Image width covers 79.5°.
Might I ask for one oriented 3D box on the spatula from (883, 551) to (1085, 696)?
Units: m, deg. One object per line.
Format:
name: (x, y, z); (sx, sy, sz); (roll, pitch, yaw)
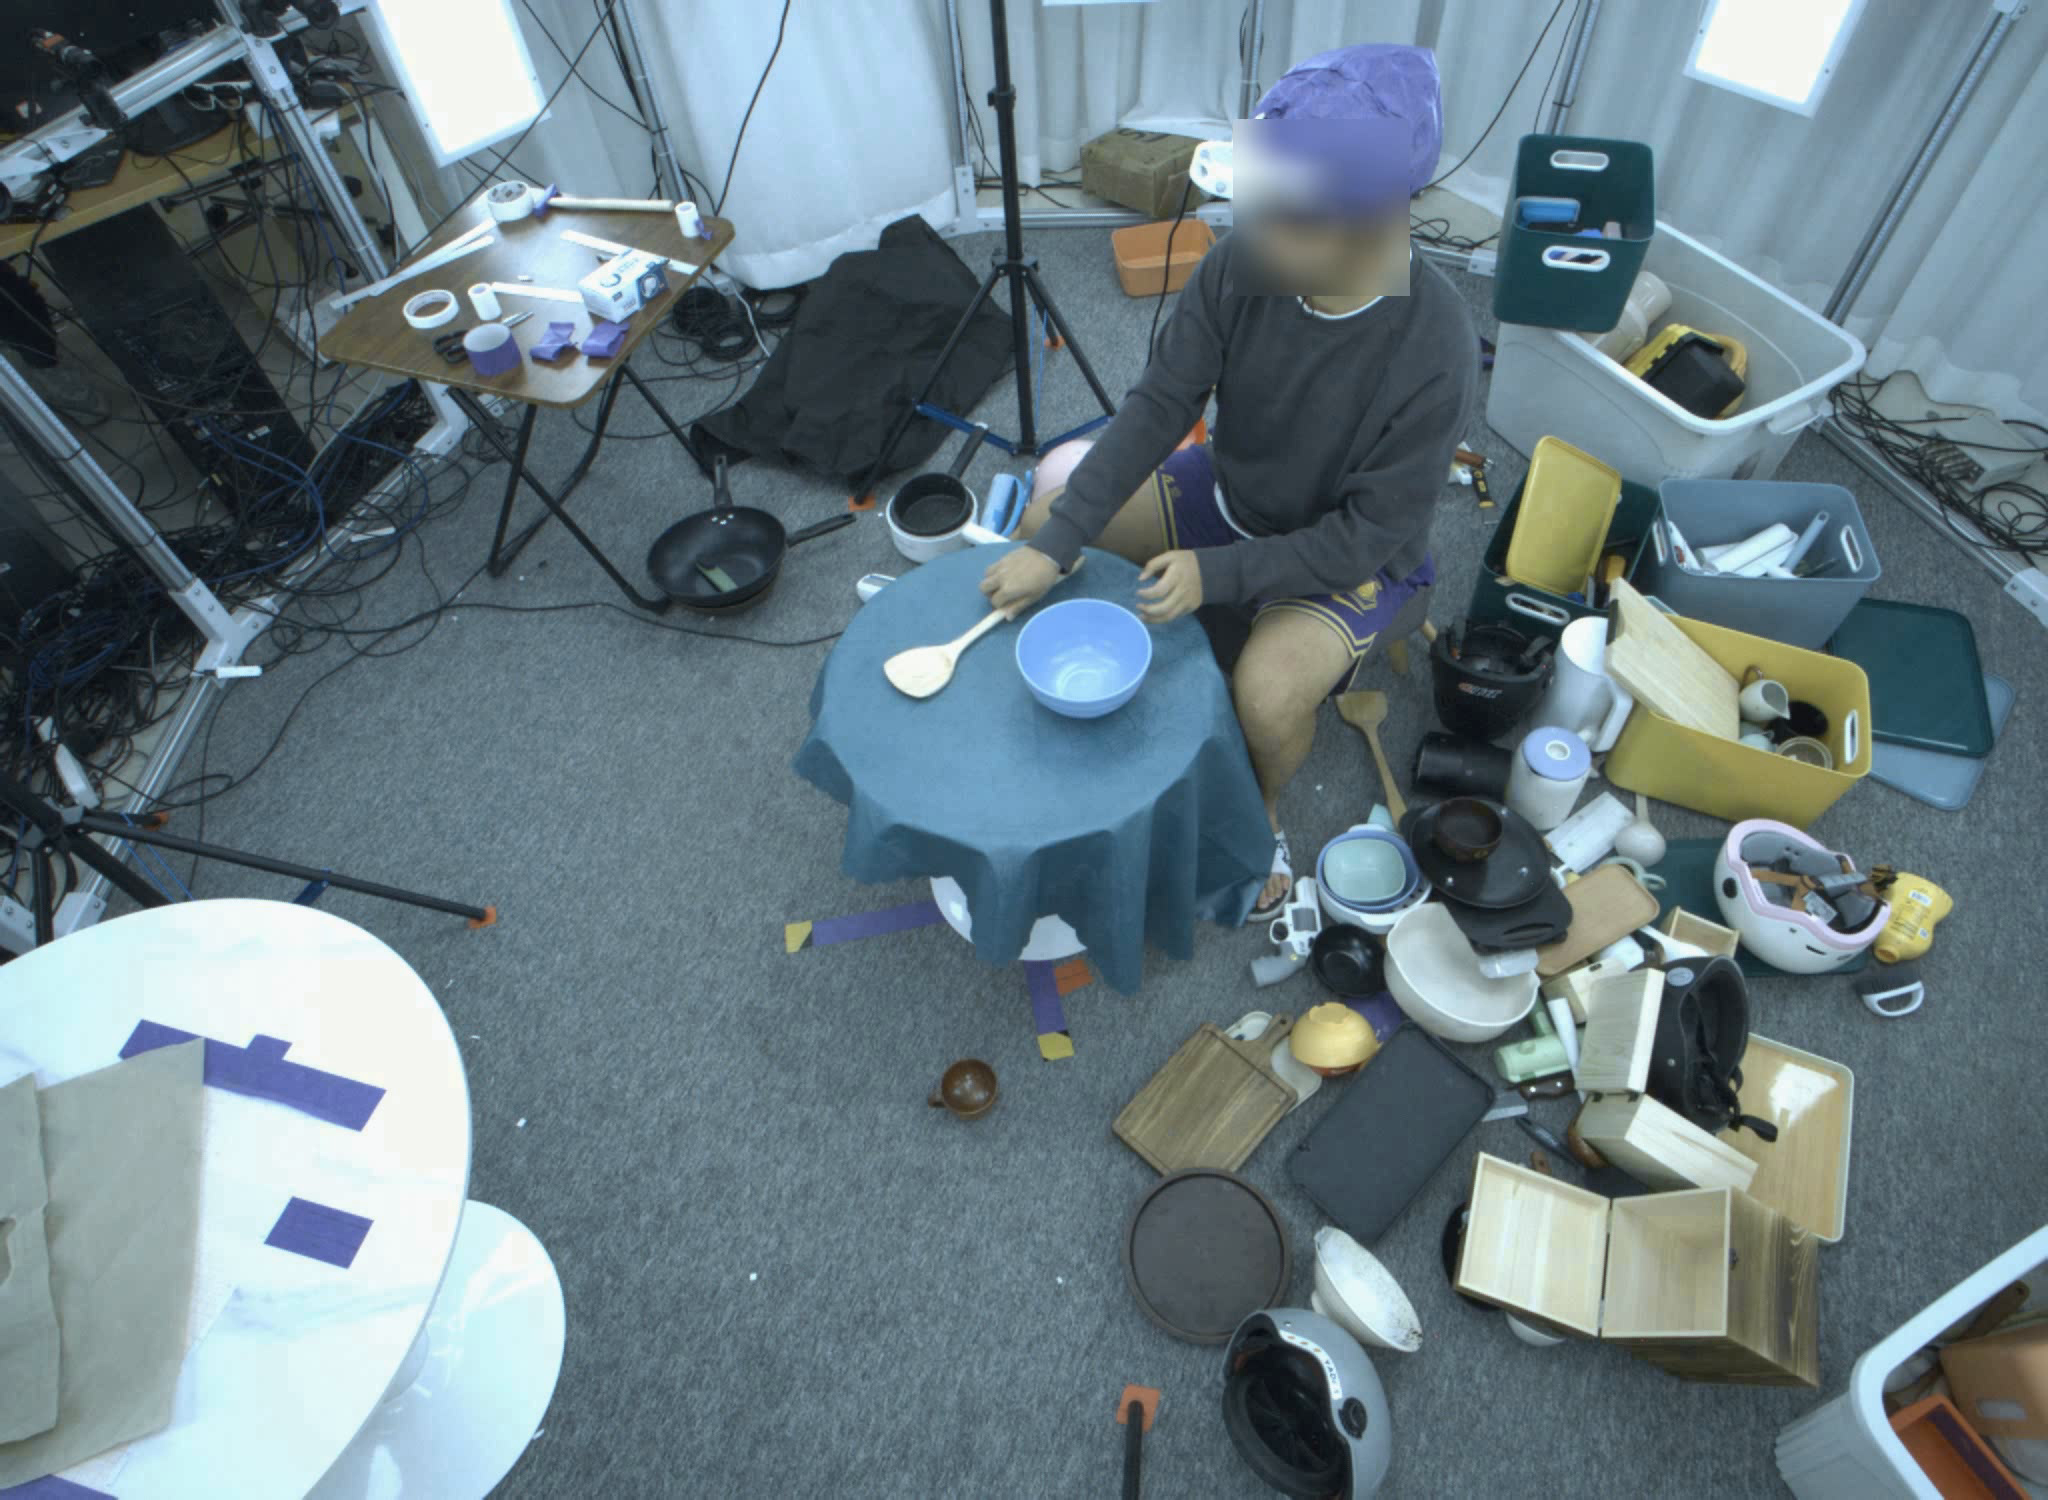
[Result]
spatula: (-0.052, -0.210, 1.925); (0.393, 0.018, 0.094); (-39, 66, -20)

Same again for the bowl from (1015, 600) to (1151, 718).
bowl: (0.090, -0.119, 1.816); (0.196, 0.096, 0.194); (-2, 54, 4)
